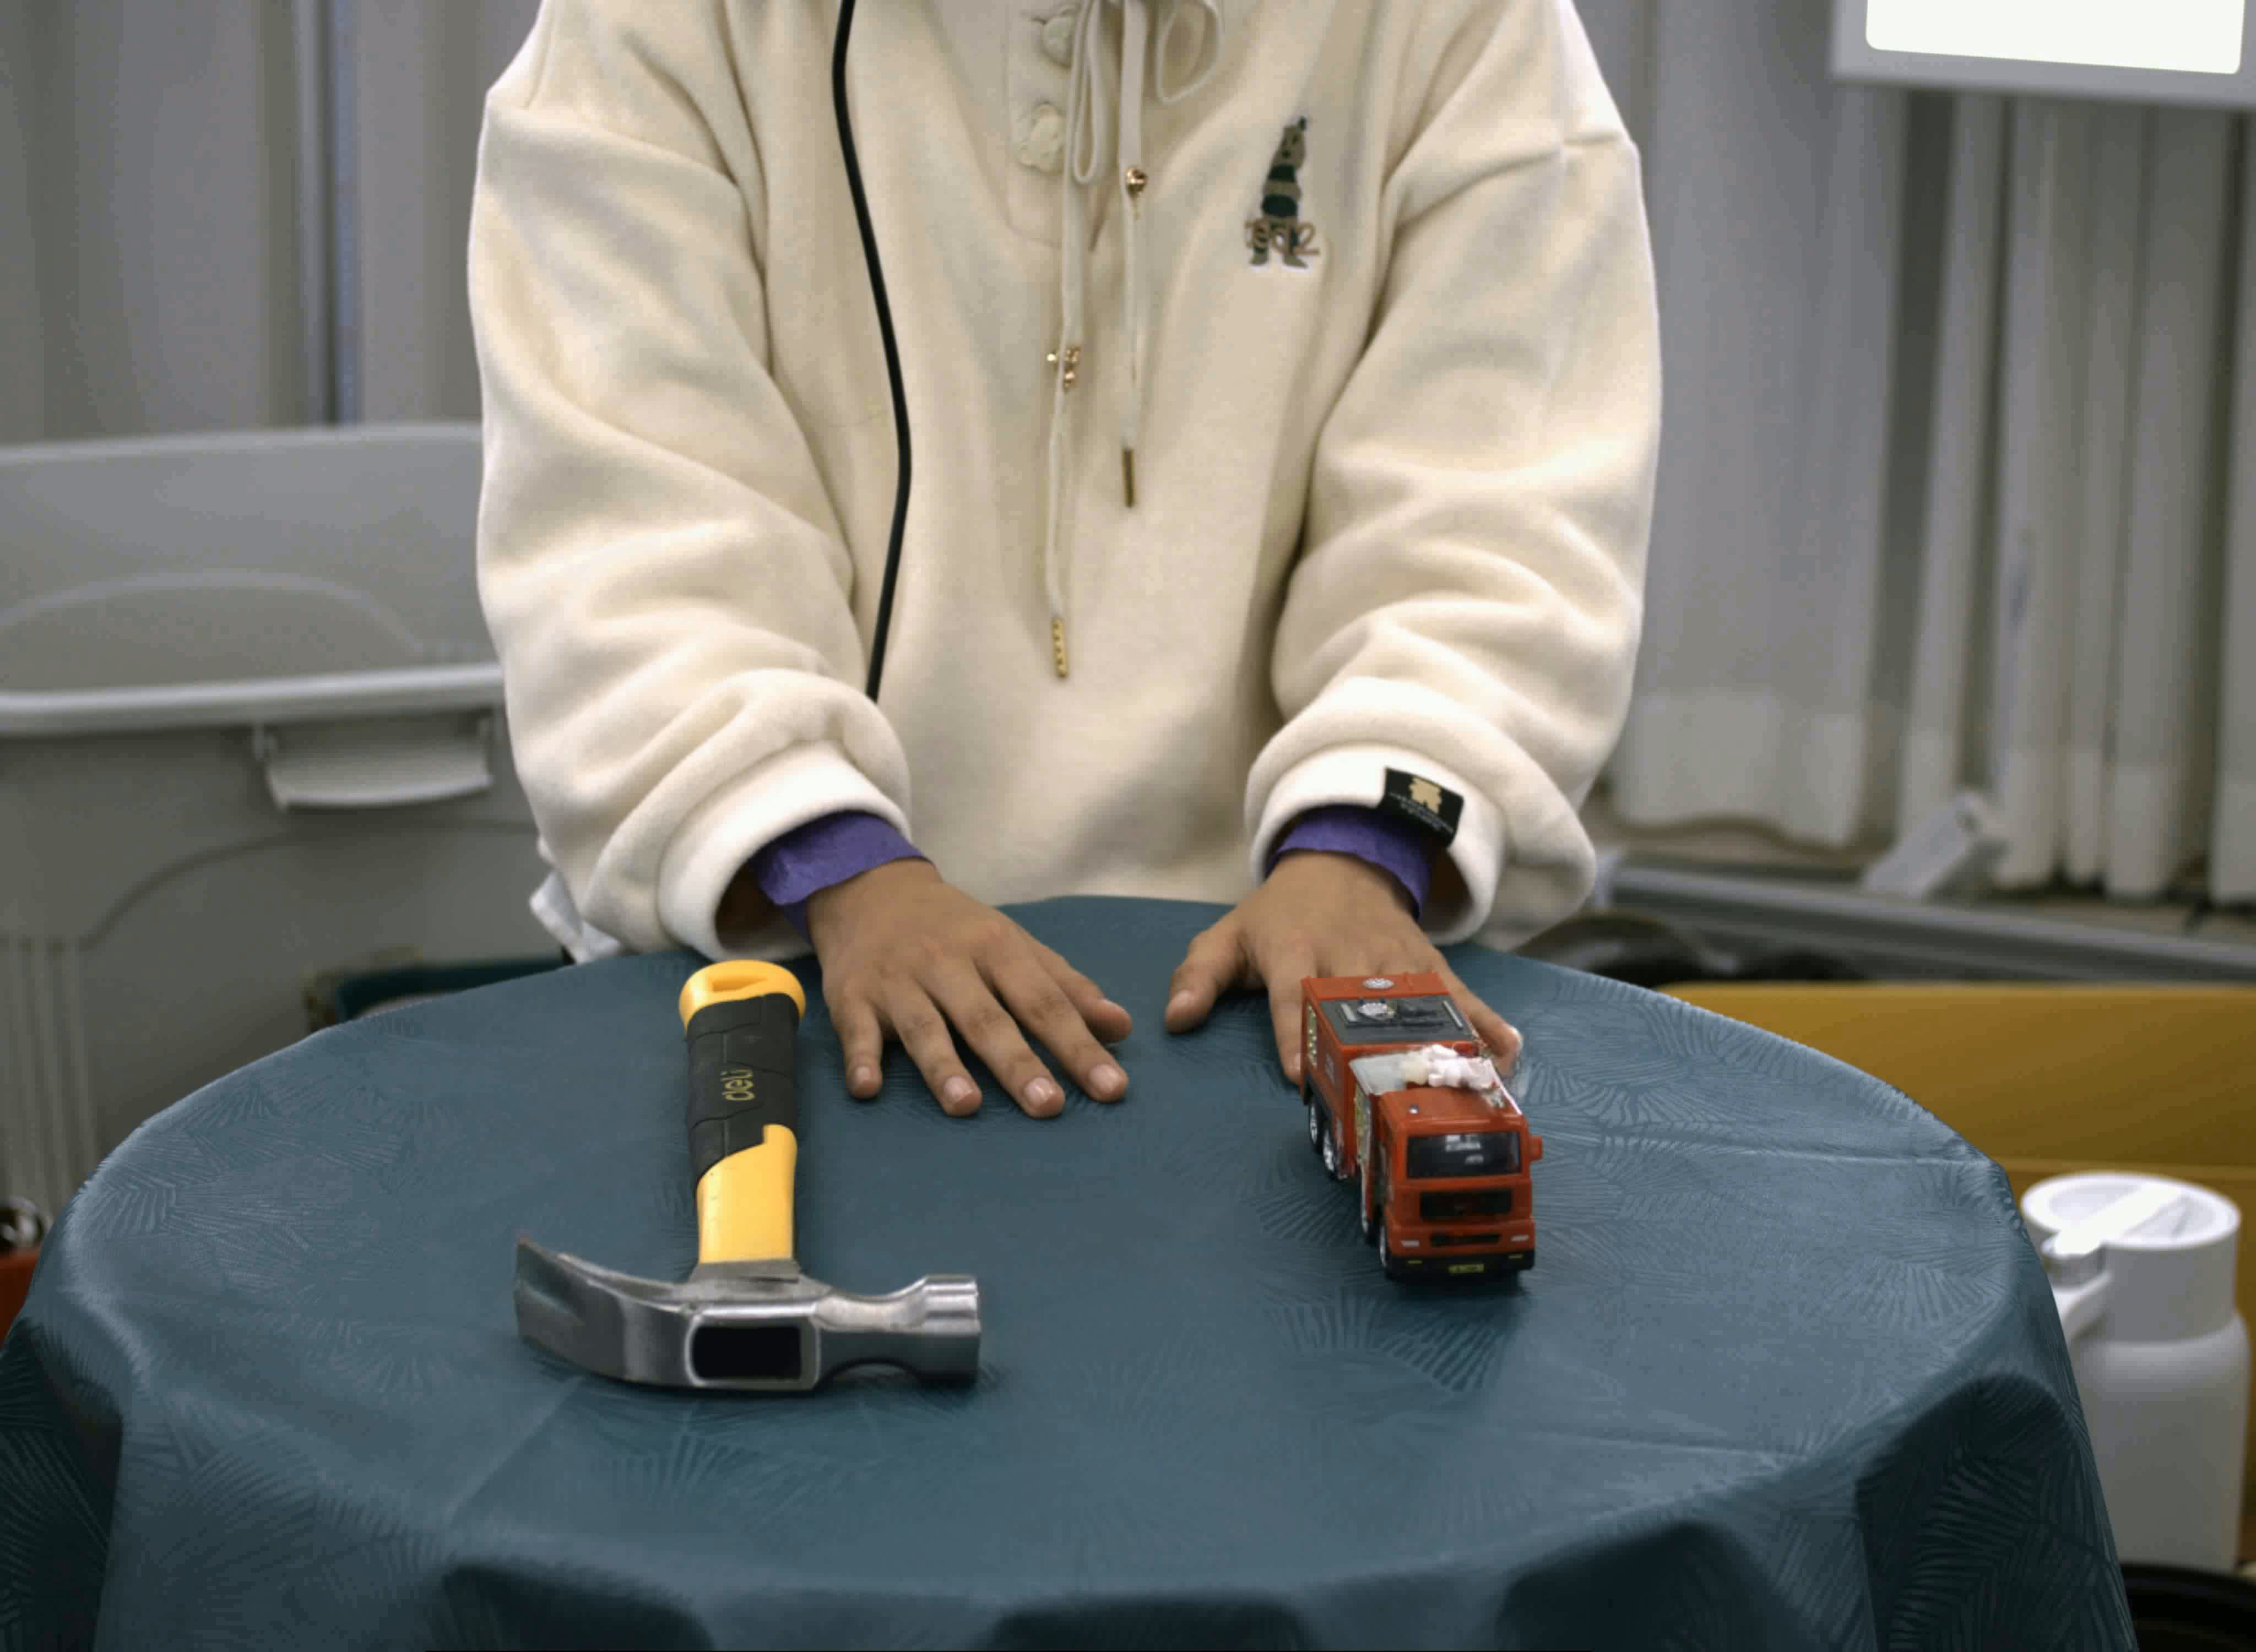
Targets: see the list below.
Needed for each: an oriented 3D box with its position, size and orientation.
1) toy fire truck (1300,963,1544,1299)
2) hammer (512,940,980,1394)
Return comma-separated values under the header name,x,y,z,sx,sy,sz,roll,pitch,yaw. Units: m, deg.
name,x,y,z,sx,sy,sz,roll,pitch,yaw
toy fire truck,0.088,0.089,1.597,0.054,0.071,0.166,-2,15,-8
hammer,-0.116,0.096,1.604,0.131,0.032,0.336,-1,17,-4
